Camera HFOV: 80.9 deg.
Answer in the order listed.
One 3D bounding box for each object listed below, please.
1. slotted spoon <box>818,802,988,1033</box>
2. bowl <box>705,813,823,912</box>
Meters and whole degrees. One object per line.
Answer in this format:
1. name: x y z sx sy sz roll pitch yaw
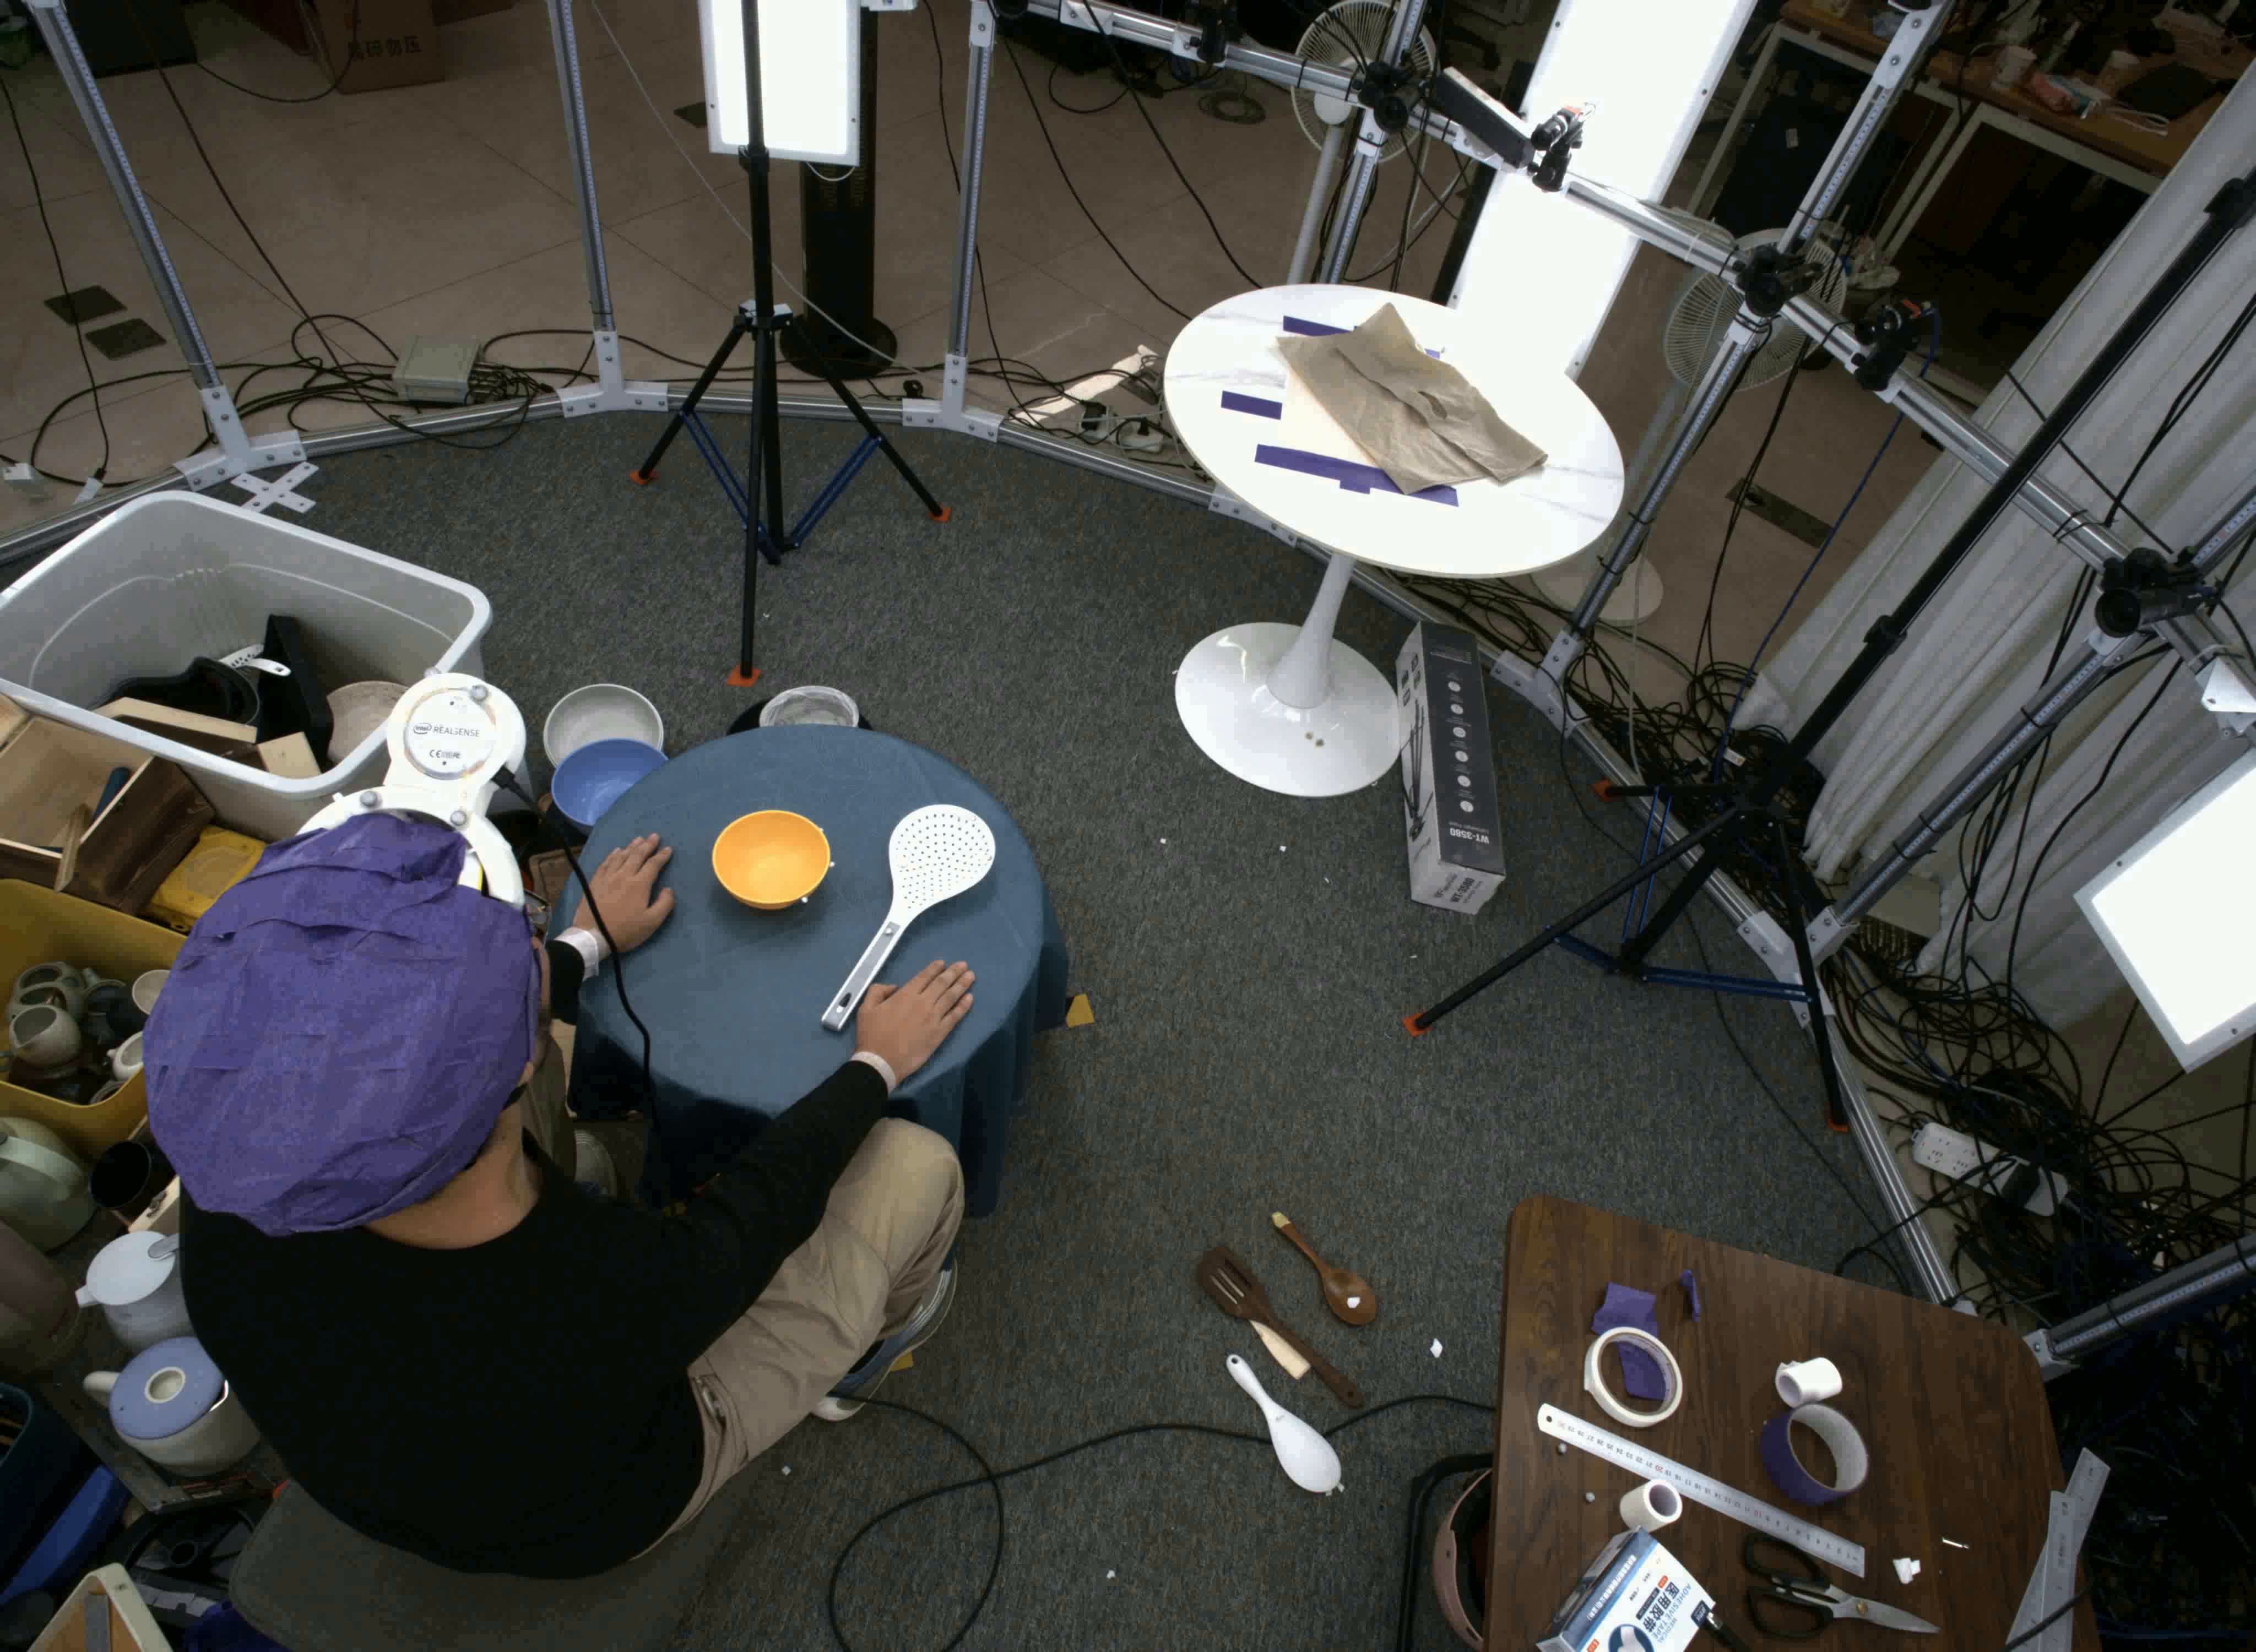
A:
1. slotted spoon: -0.292 0.110 1.642 0.134 0.046 0.347 24 53 5
2. bowl: -0.456 0.056 1.633 0.145 0.061 0.142 7 51 -7
